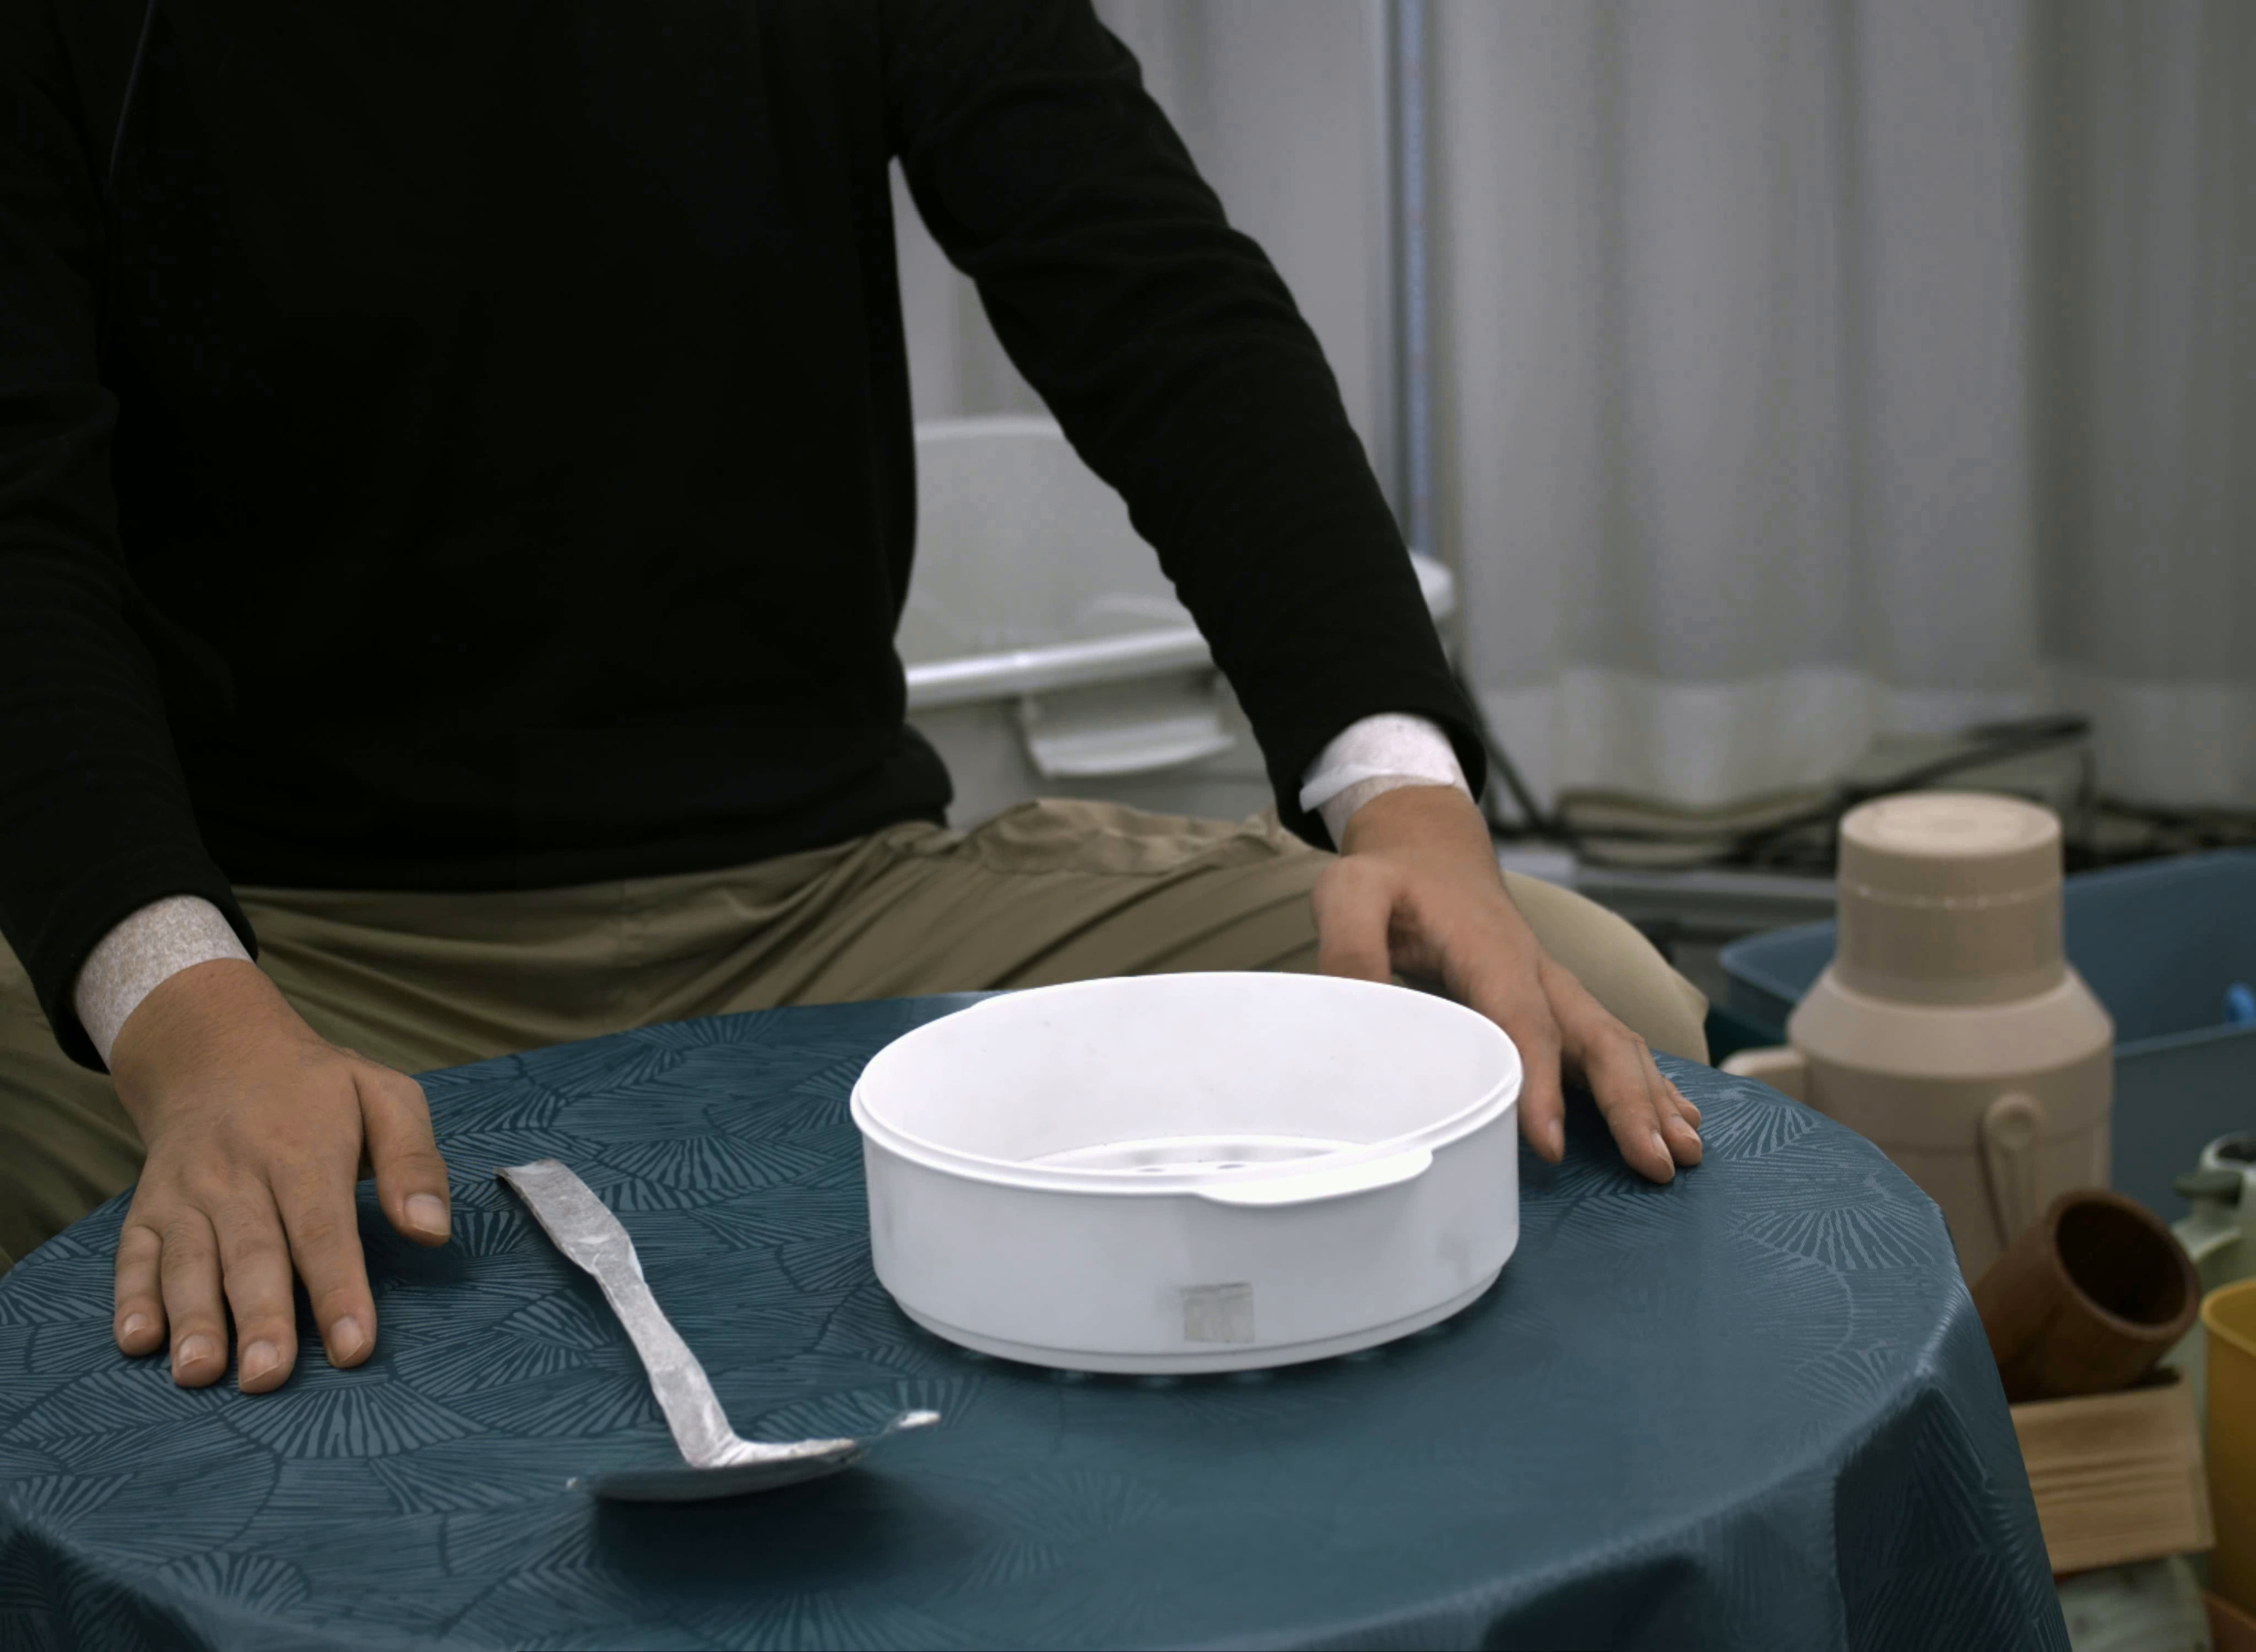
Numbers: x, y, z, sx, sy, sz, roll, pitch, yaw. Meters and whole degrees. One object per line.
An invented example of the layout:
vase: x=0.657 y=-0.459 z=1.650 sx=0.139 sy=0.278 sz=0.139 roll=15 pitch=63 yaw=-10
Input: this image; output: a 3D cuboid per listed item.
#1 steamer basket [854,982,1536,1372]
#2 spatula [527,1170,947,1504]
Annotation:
steamer basket: x=0.021 y=0.103 z=1.618 sx=0.201 sy=0.069 sz=0.232 roll=-7 pitch=14 yaw=-20
spatula: x=-0.137 y=0.138 z=1.581 sx=0.098 sy=0.044 sz=0.368 roll=-9 pitch=16 yaw=-14
